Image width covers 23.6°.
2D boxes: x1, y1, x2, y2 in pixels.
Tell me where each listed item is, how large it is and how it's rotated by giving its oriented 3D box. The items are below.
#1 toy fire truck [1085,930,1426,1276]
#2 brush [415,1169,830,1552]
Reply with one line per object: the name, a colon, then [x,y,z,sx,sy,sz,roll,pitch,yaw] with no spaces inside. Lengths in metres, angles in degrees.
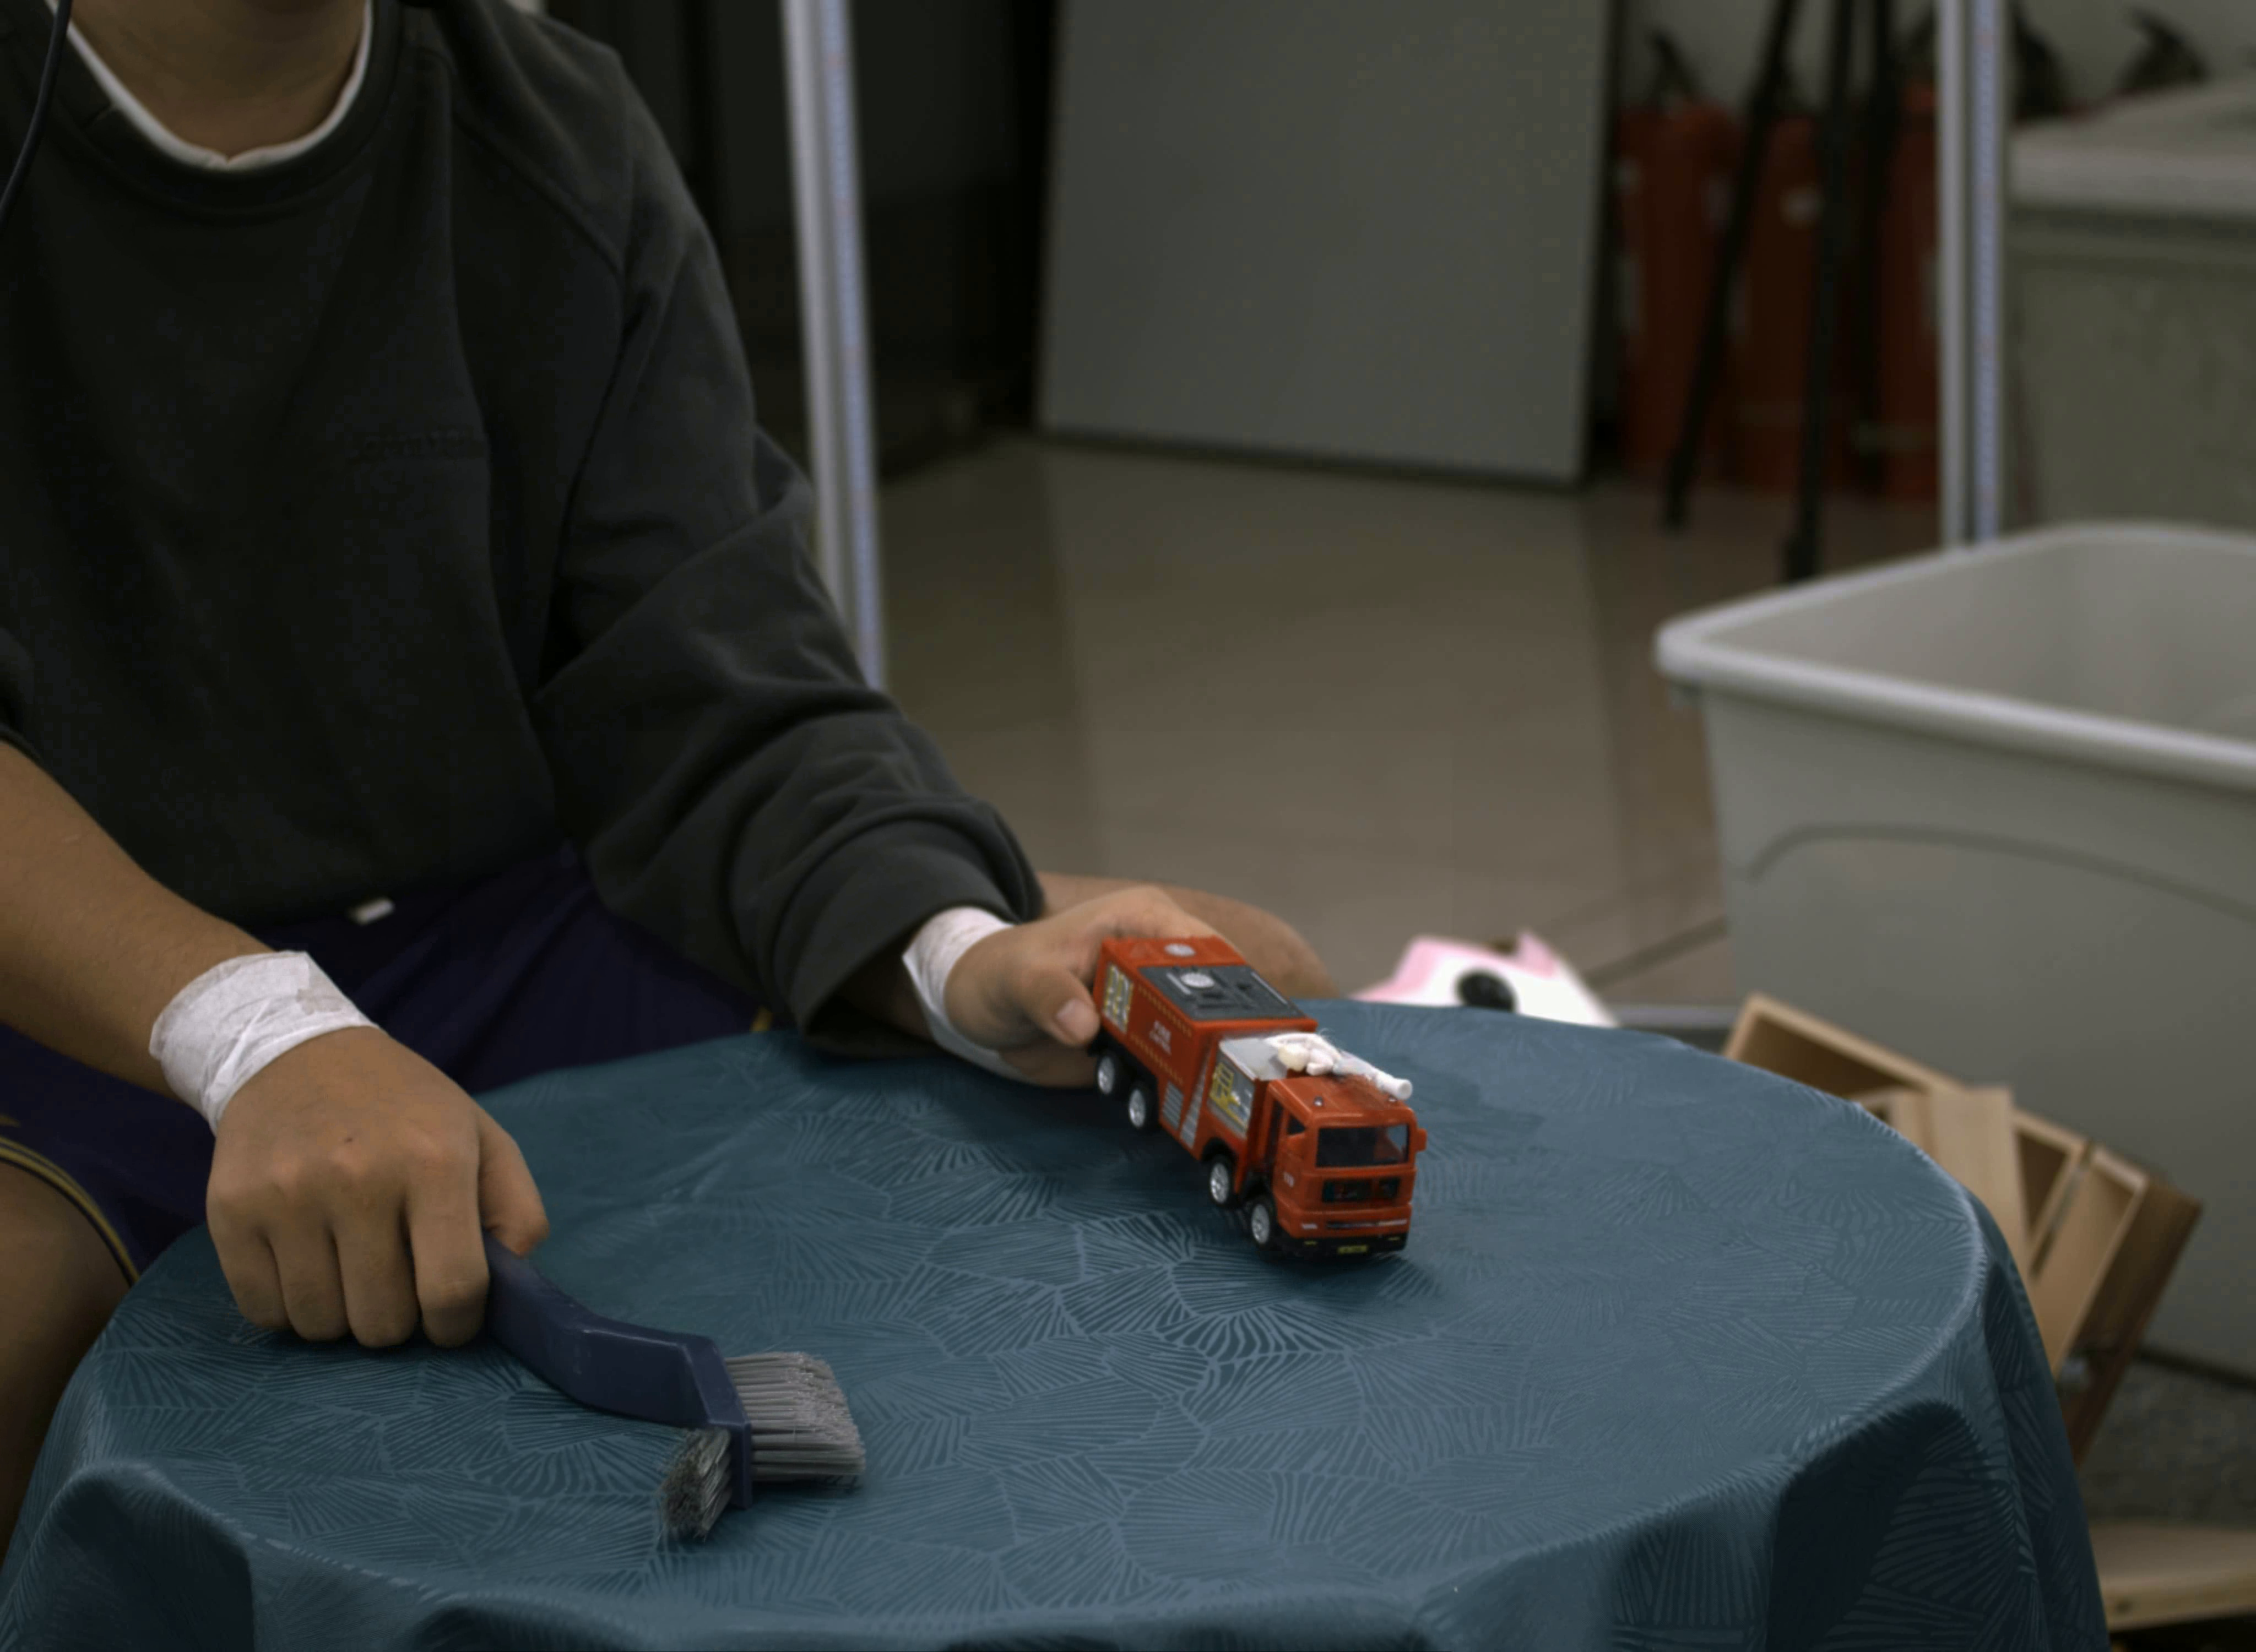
toy fire truck: [0.040,0.086,1.731,0.053,0.071,0.170,-1,20,-26]
brush: [-0.172,0.155,1.612,0.093,0.034,0.276,-13,17,-32]
